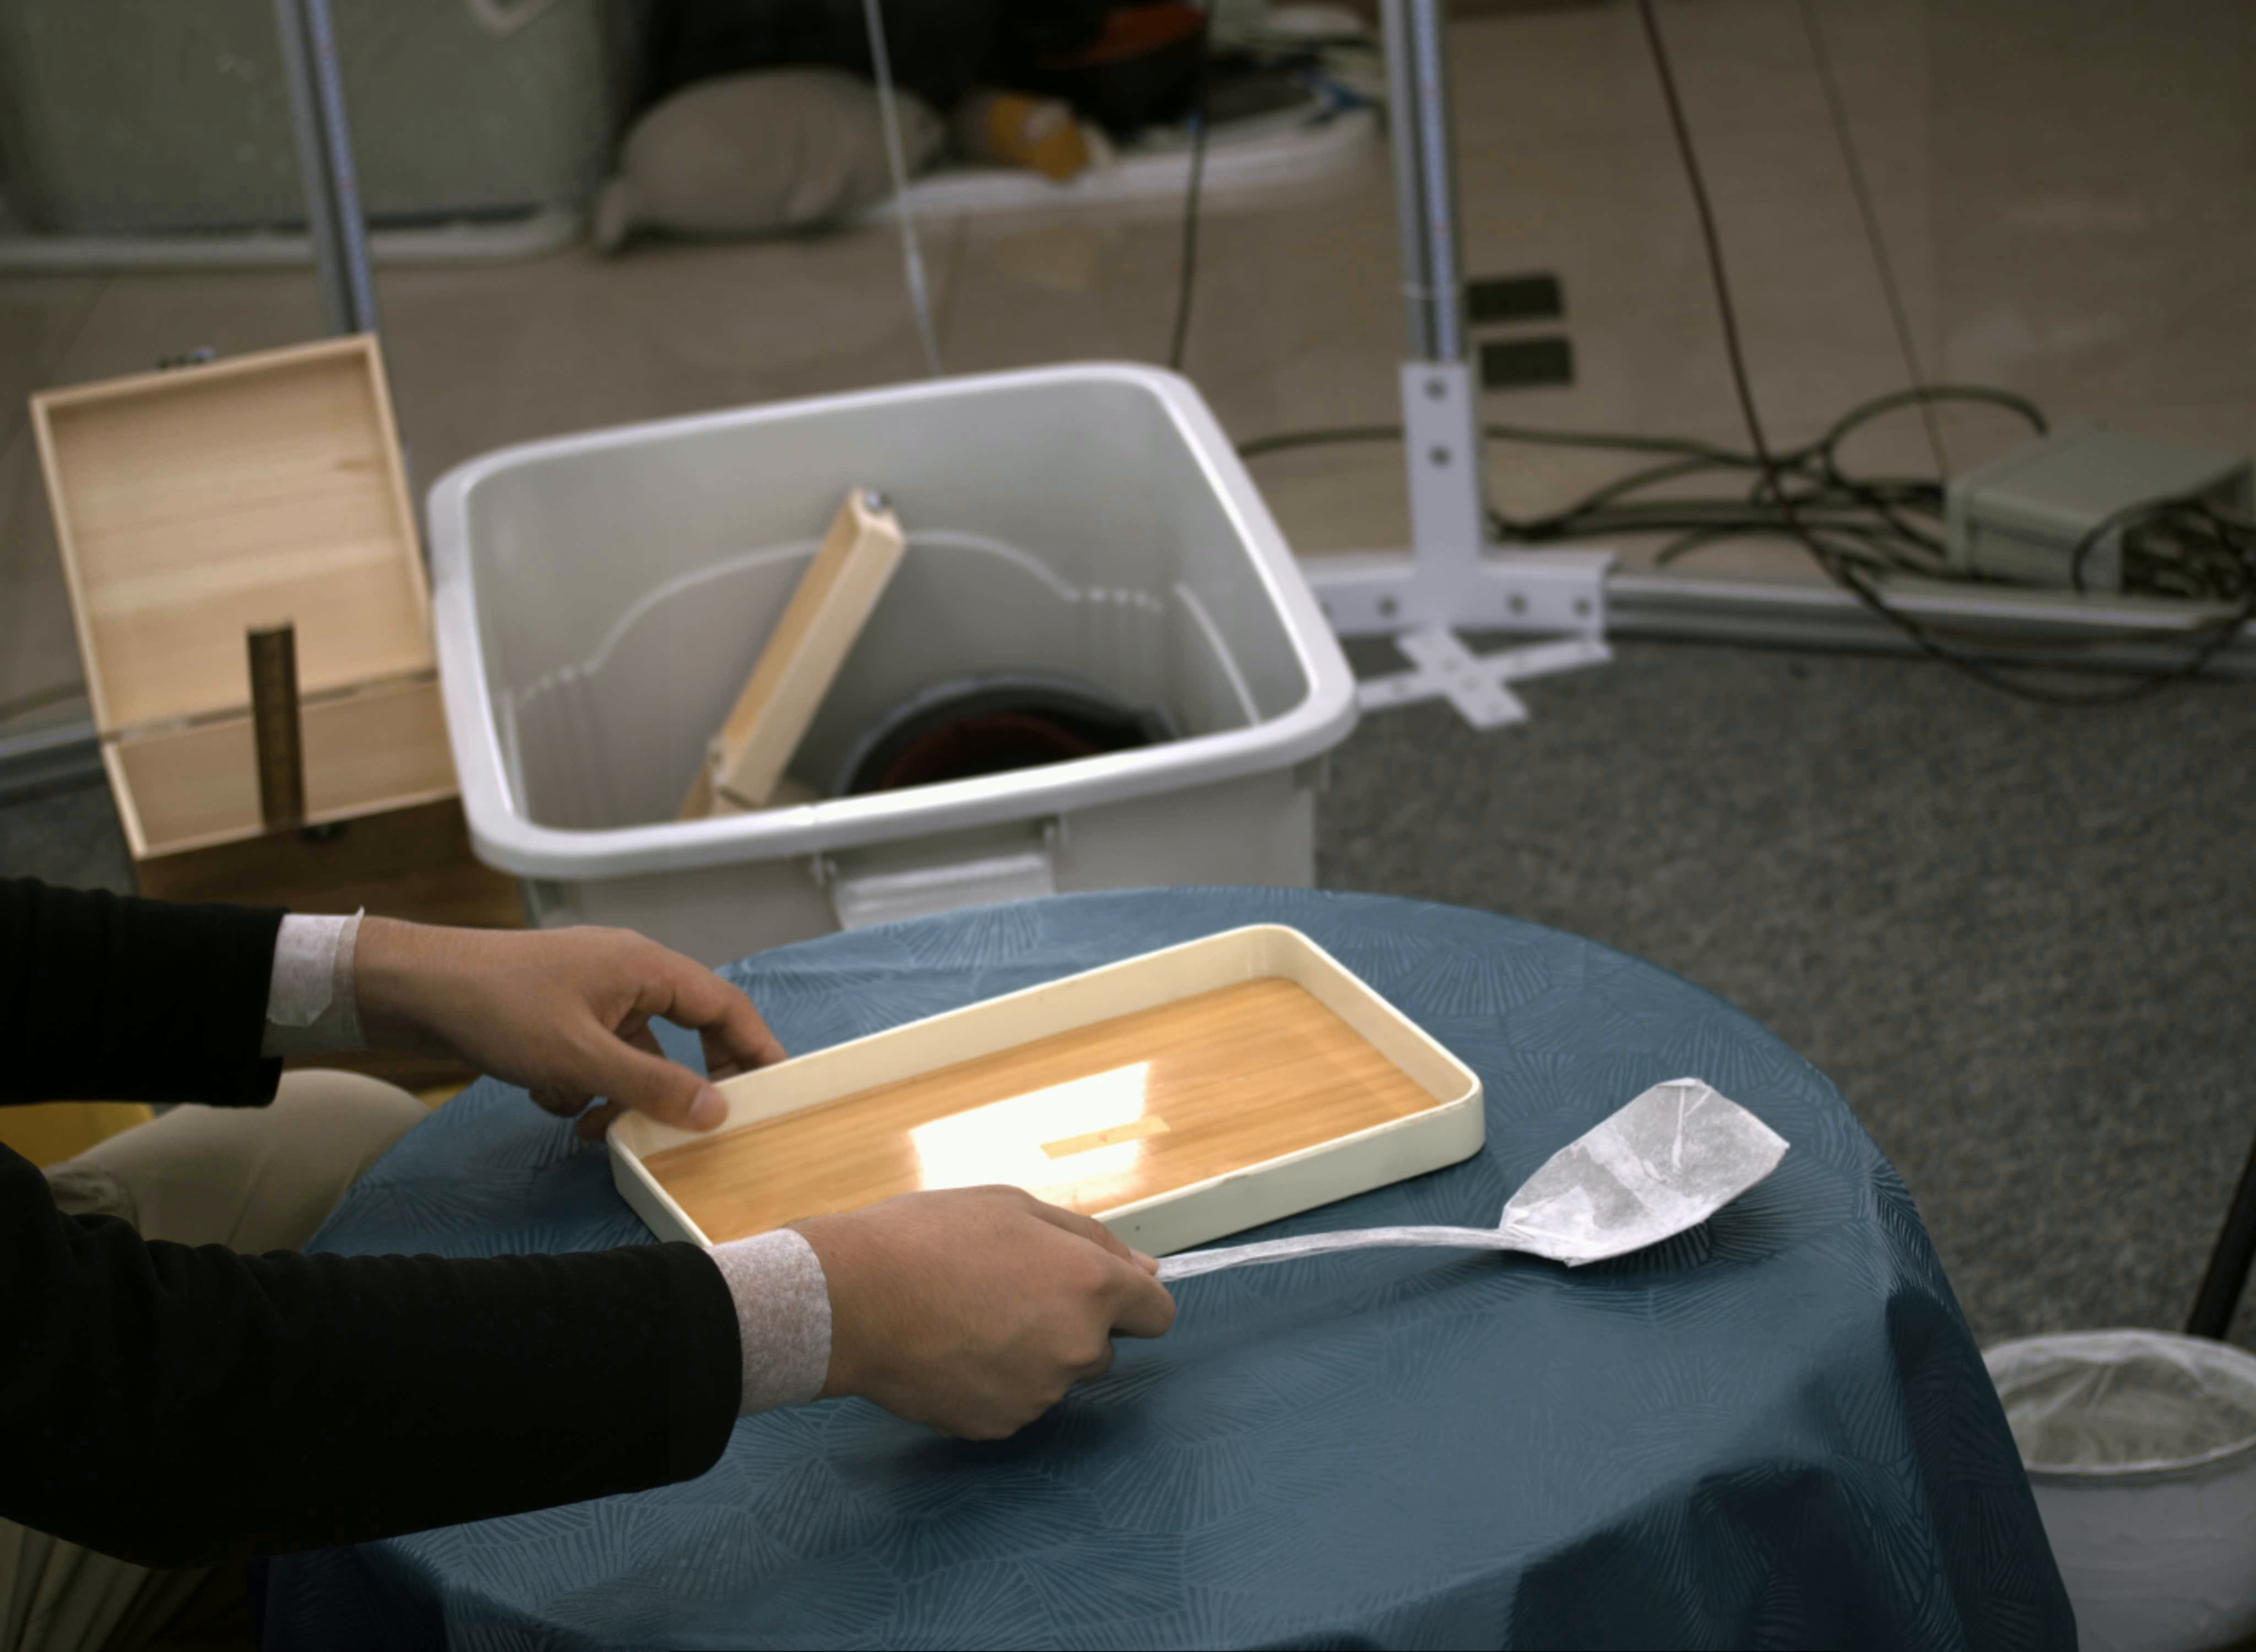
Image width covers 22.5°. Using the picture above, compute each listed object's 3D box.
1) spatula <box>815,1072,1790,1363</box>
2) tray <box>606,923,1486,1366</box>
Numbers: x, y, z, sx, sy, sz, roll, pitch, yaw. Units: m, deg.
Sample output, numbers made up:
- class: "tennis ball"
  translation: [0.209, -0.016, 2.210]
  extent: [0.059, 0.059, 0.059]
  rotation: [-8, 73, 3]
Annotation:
- class: "spatula"
  translation: [0.063, 0.147, 2.043]
  extent: [0.364, 0.045, 0.097]
  rotation: [-8, 22, -18]
- class: "tray"
  translation: [-0.033, 0.118, 2.169]
  extent: [0.299, 0.028, 0.189]
  rotation: [-16, 26, -19]
